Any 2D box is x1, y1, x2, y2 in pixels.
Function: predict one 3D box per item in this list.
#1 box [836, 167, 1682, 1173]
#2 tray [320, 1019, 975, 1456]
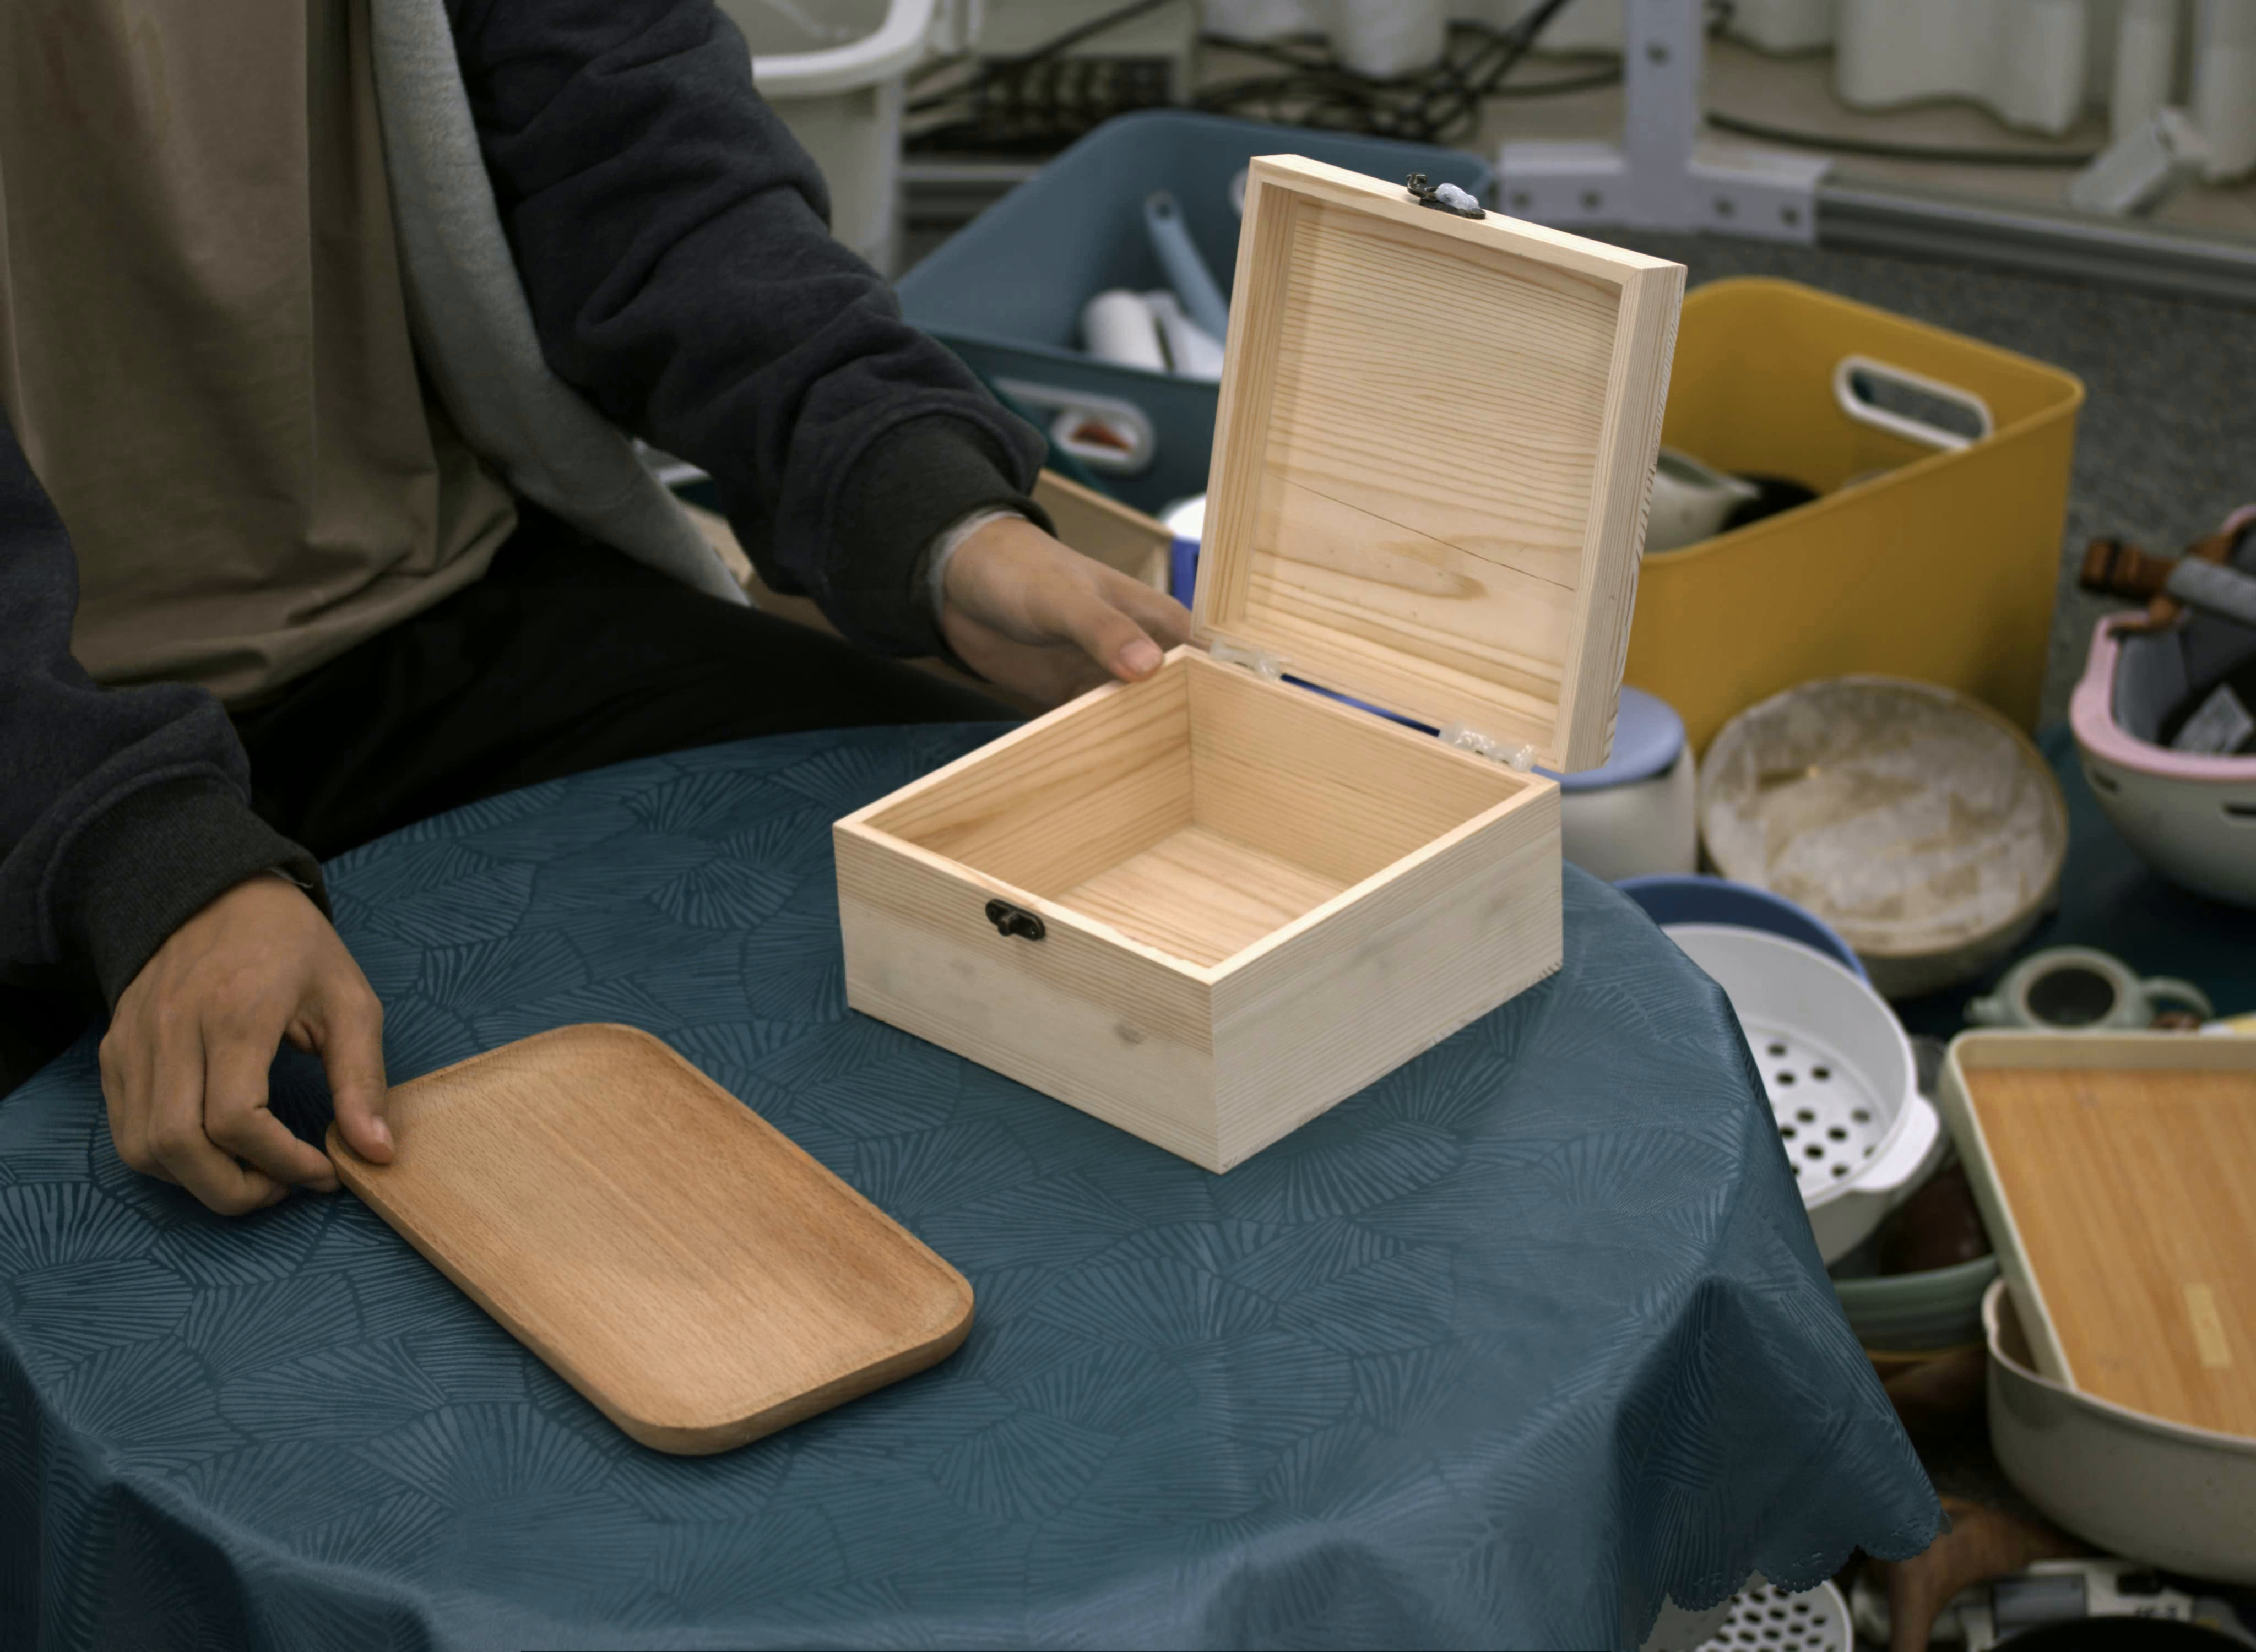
[{"bbox_3d":[0.044,-0.064,1.954,0.181,0.251,0.268,17,32,40],"label":"box"},{"bbox_3d":[-0.160,0.132,1.838,0.131,0.022,0.251,-17,30,-30],"label":"tray"}]
